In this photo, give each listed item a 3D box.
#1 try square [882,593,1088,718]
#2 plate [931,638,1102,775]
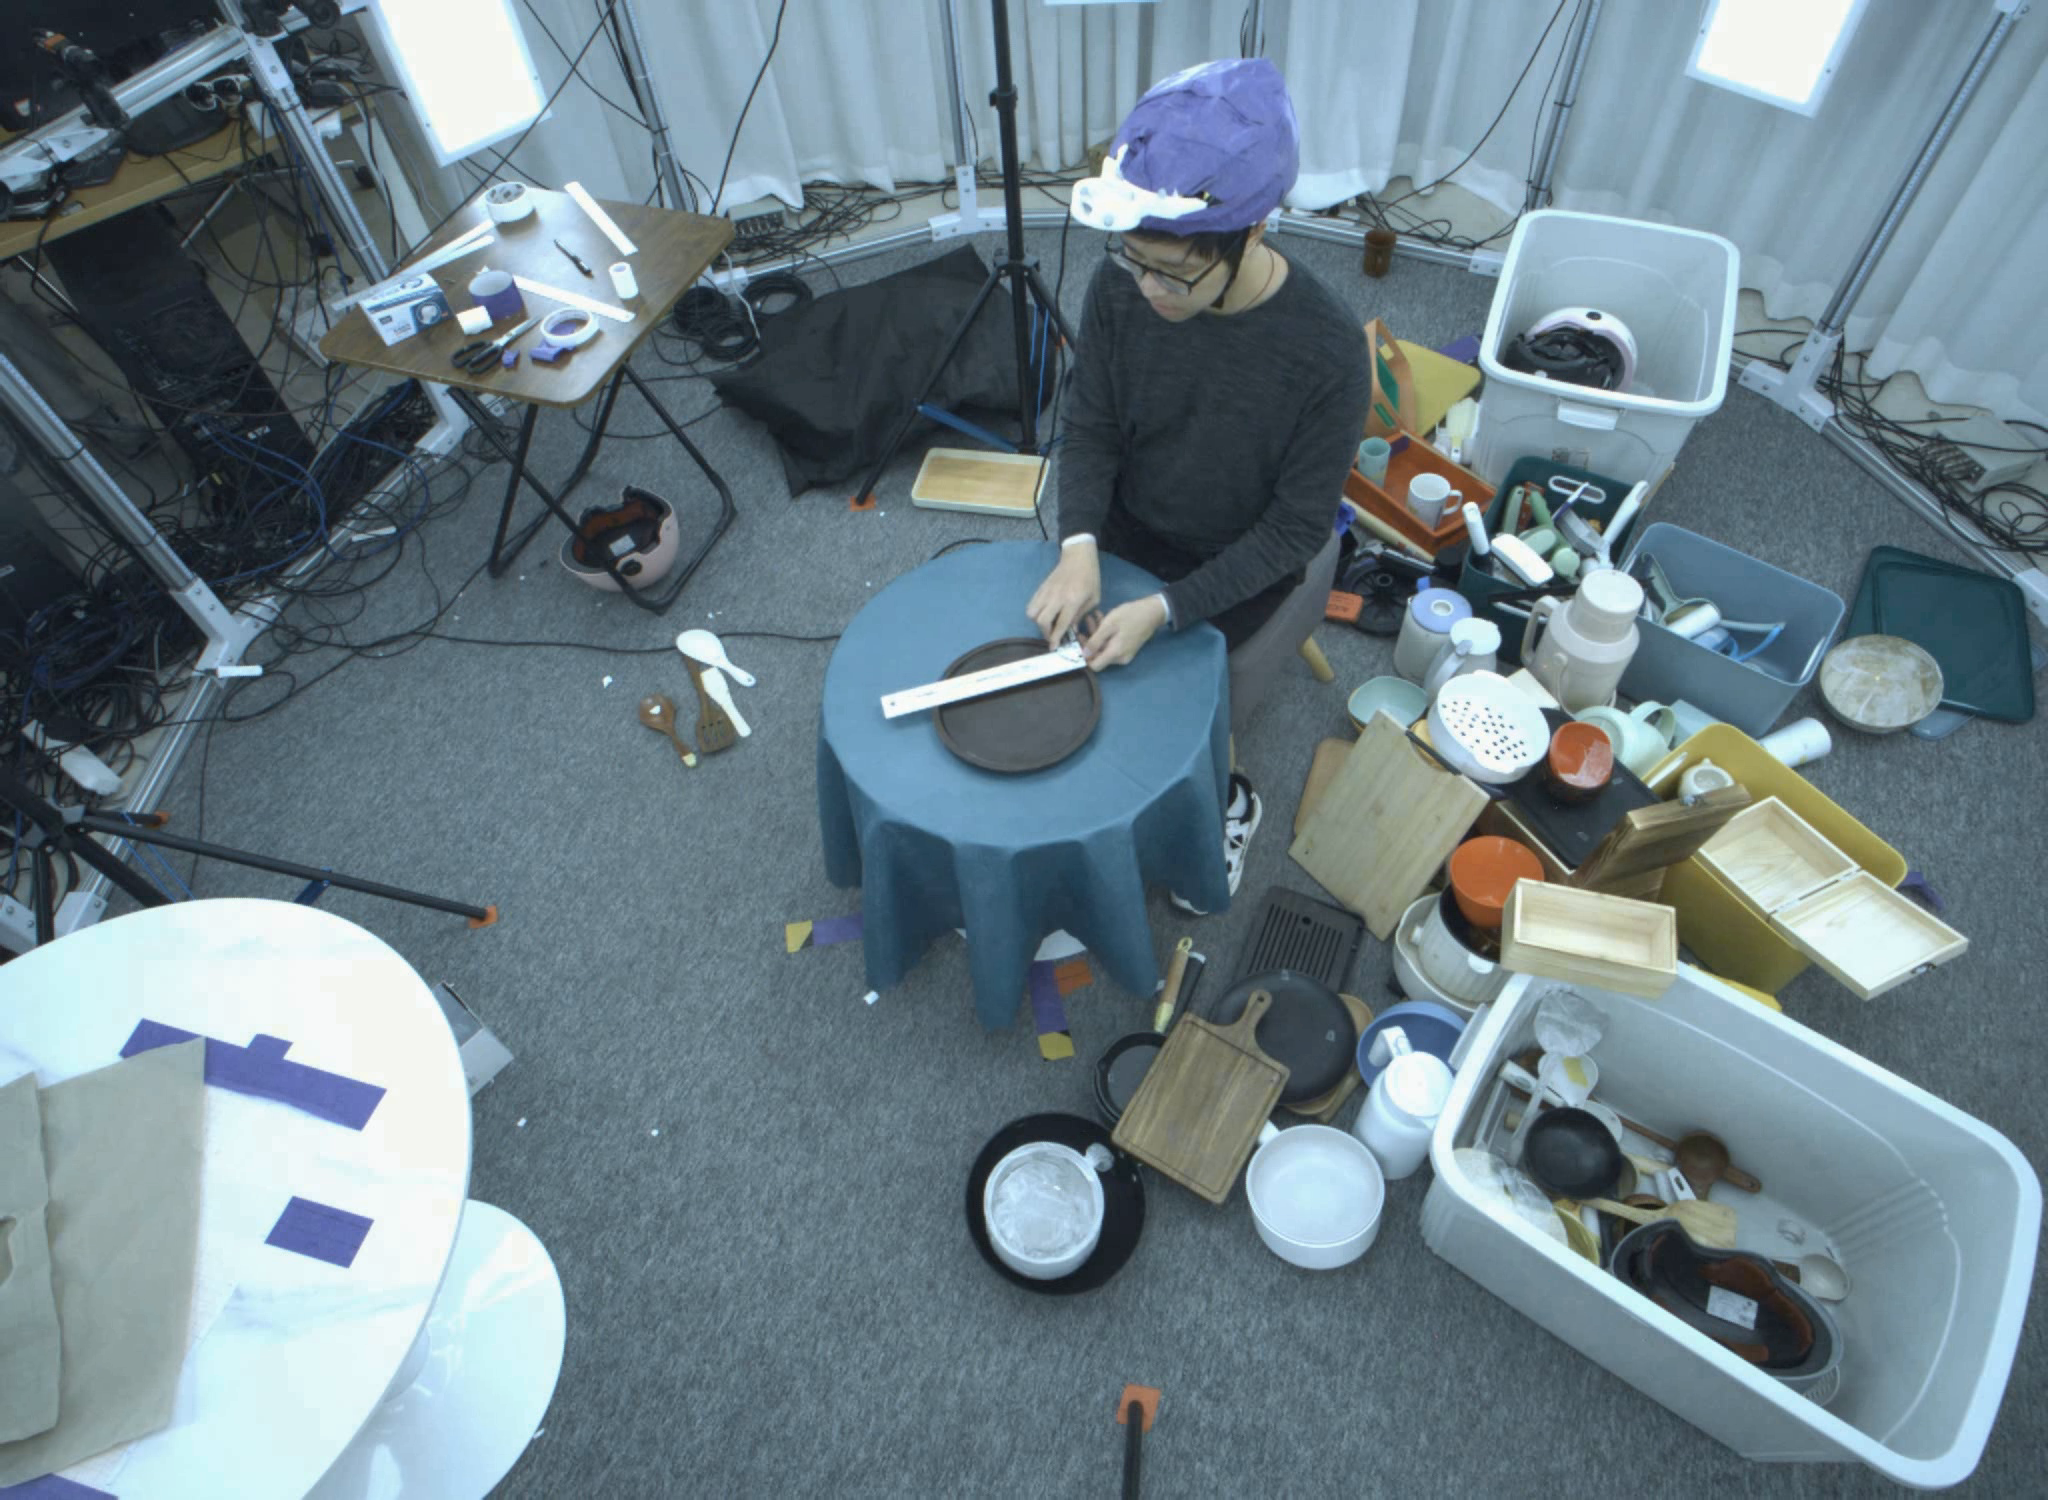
[{"bbox_3d":[-0.071,-0.145,1.862,0.314,0.016,0.150,-15,56,-7],"label":"try square"},{"bbox_3d":[-0.011,-0.066,1.821,0.254,0.029,0.252,-1,56,2],"label":"plate"}]
